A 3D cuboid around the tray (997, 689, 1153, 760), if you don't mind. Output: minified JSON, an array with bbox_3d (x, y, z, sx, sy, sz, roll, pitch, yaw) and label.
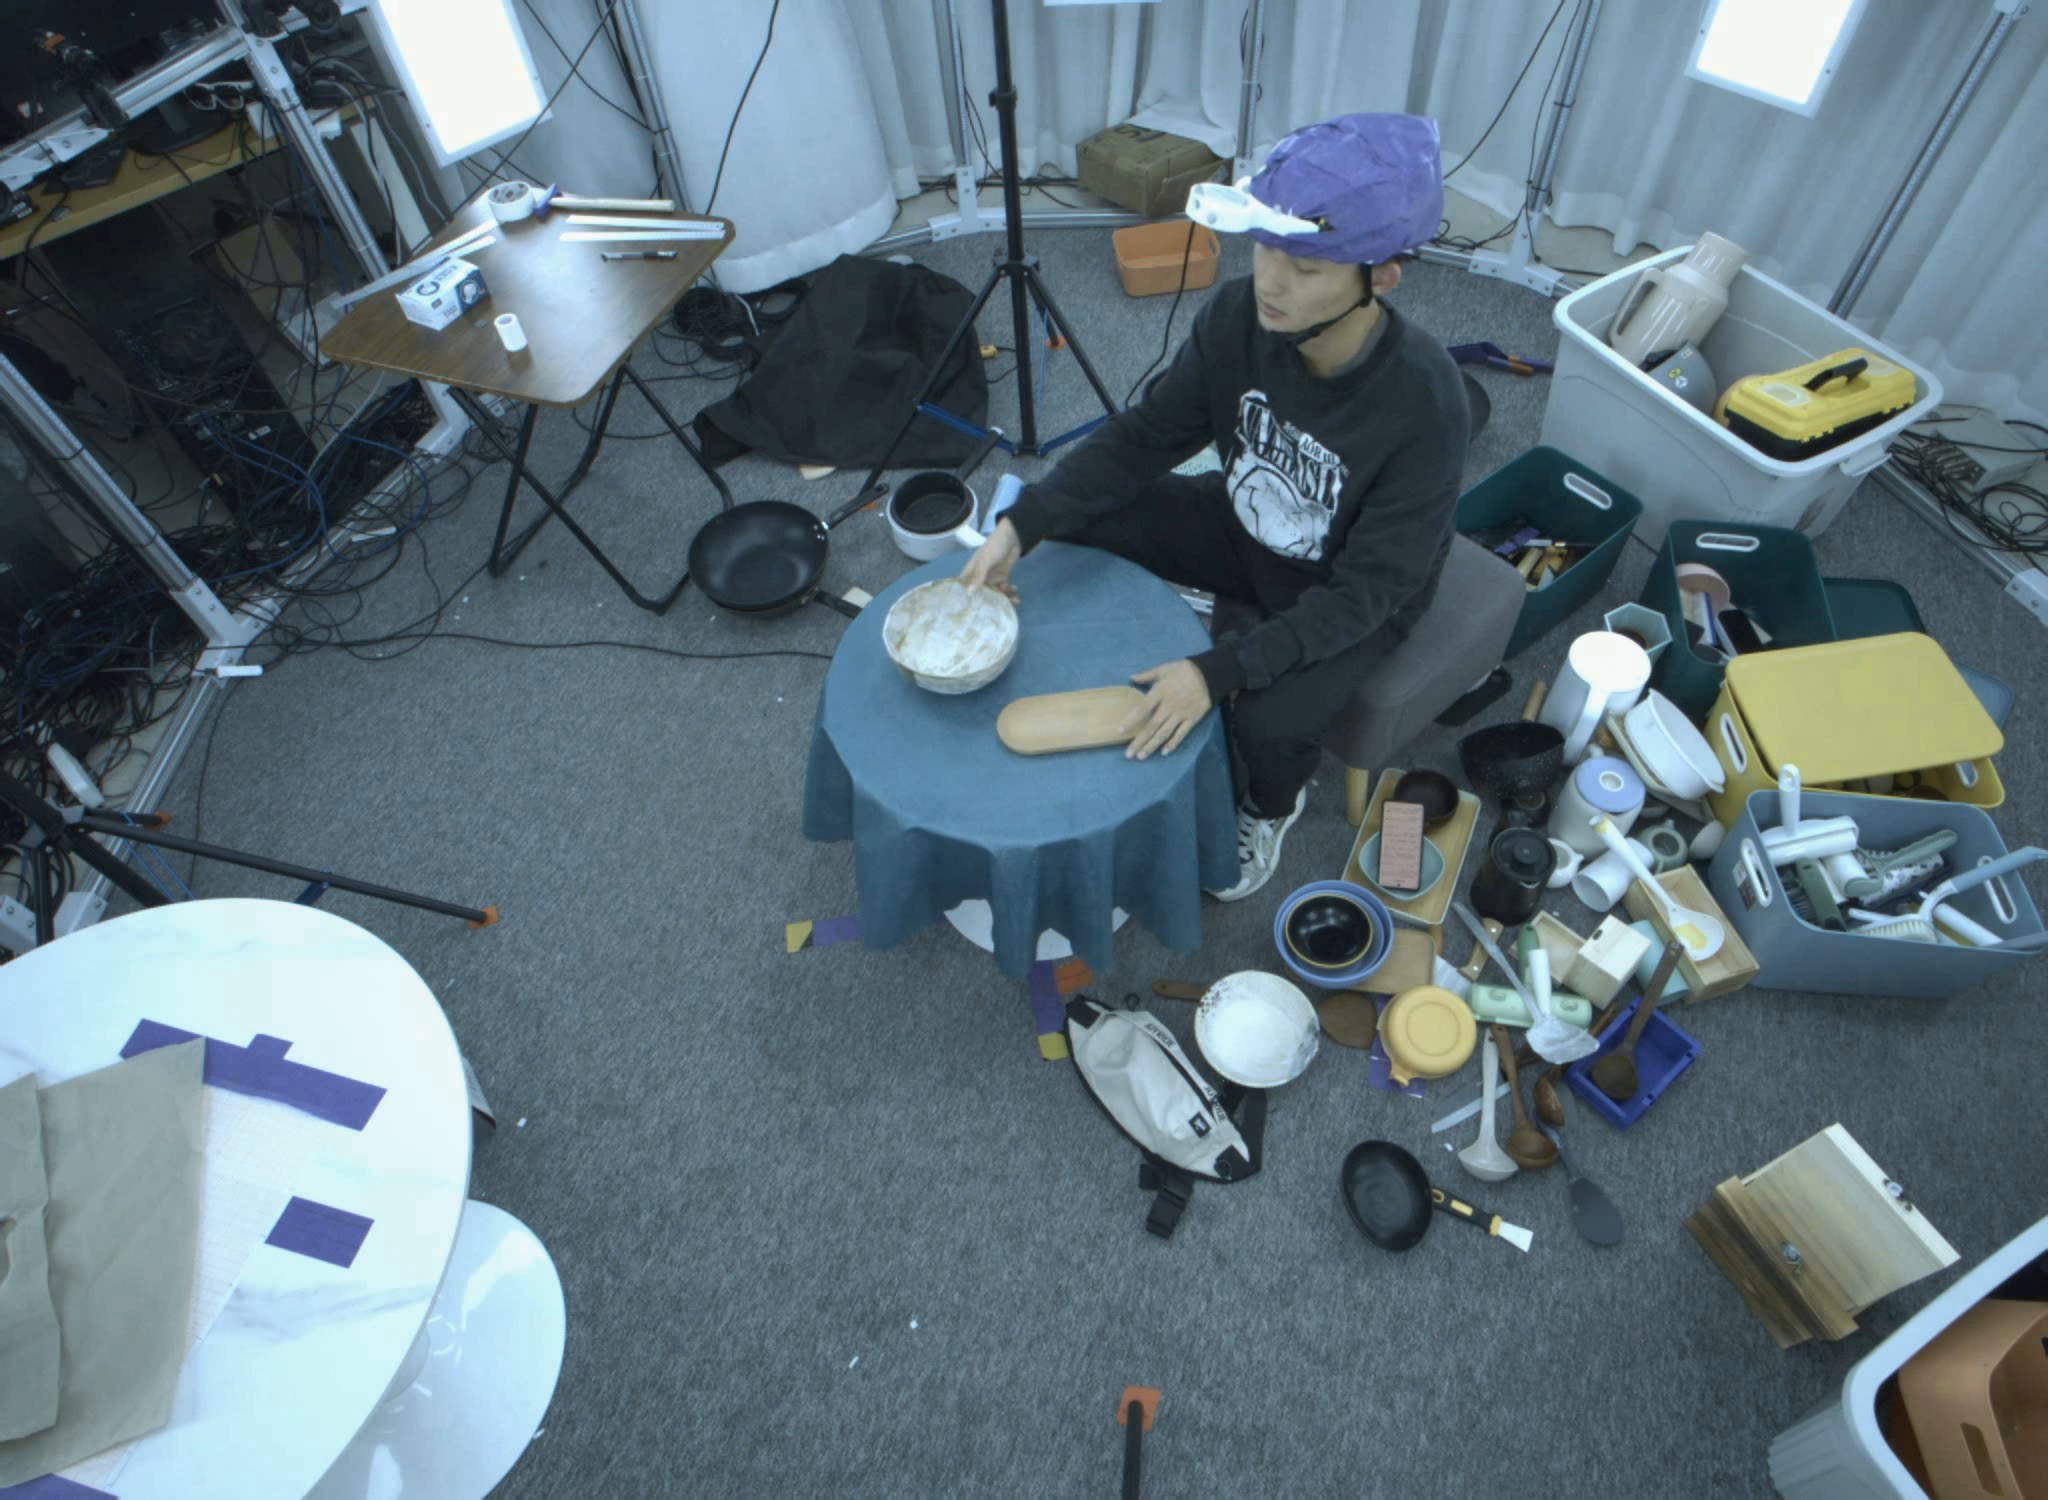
[{"bbox_3d":[0.075,-0.037,1.812,0.231,0.020,0.100,-9,53,-2],"label":"tray"}]

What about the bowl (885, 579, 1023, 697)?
[{"bbox_3d":[-0.101,-0.150,1.849,0.214,0.095,0.212,0,53,2],"label":"bowl"}]
